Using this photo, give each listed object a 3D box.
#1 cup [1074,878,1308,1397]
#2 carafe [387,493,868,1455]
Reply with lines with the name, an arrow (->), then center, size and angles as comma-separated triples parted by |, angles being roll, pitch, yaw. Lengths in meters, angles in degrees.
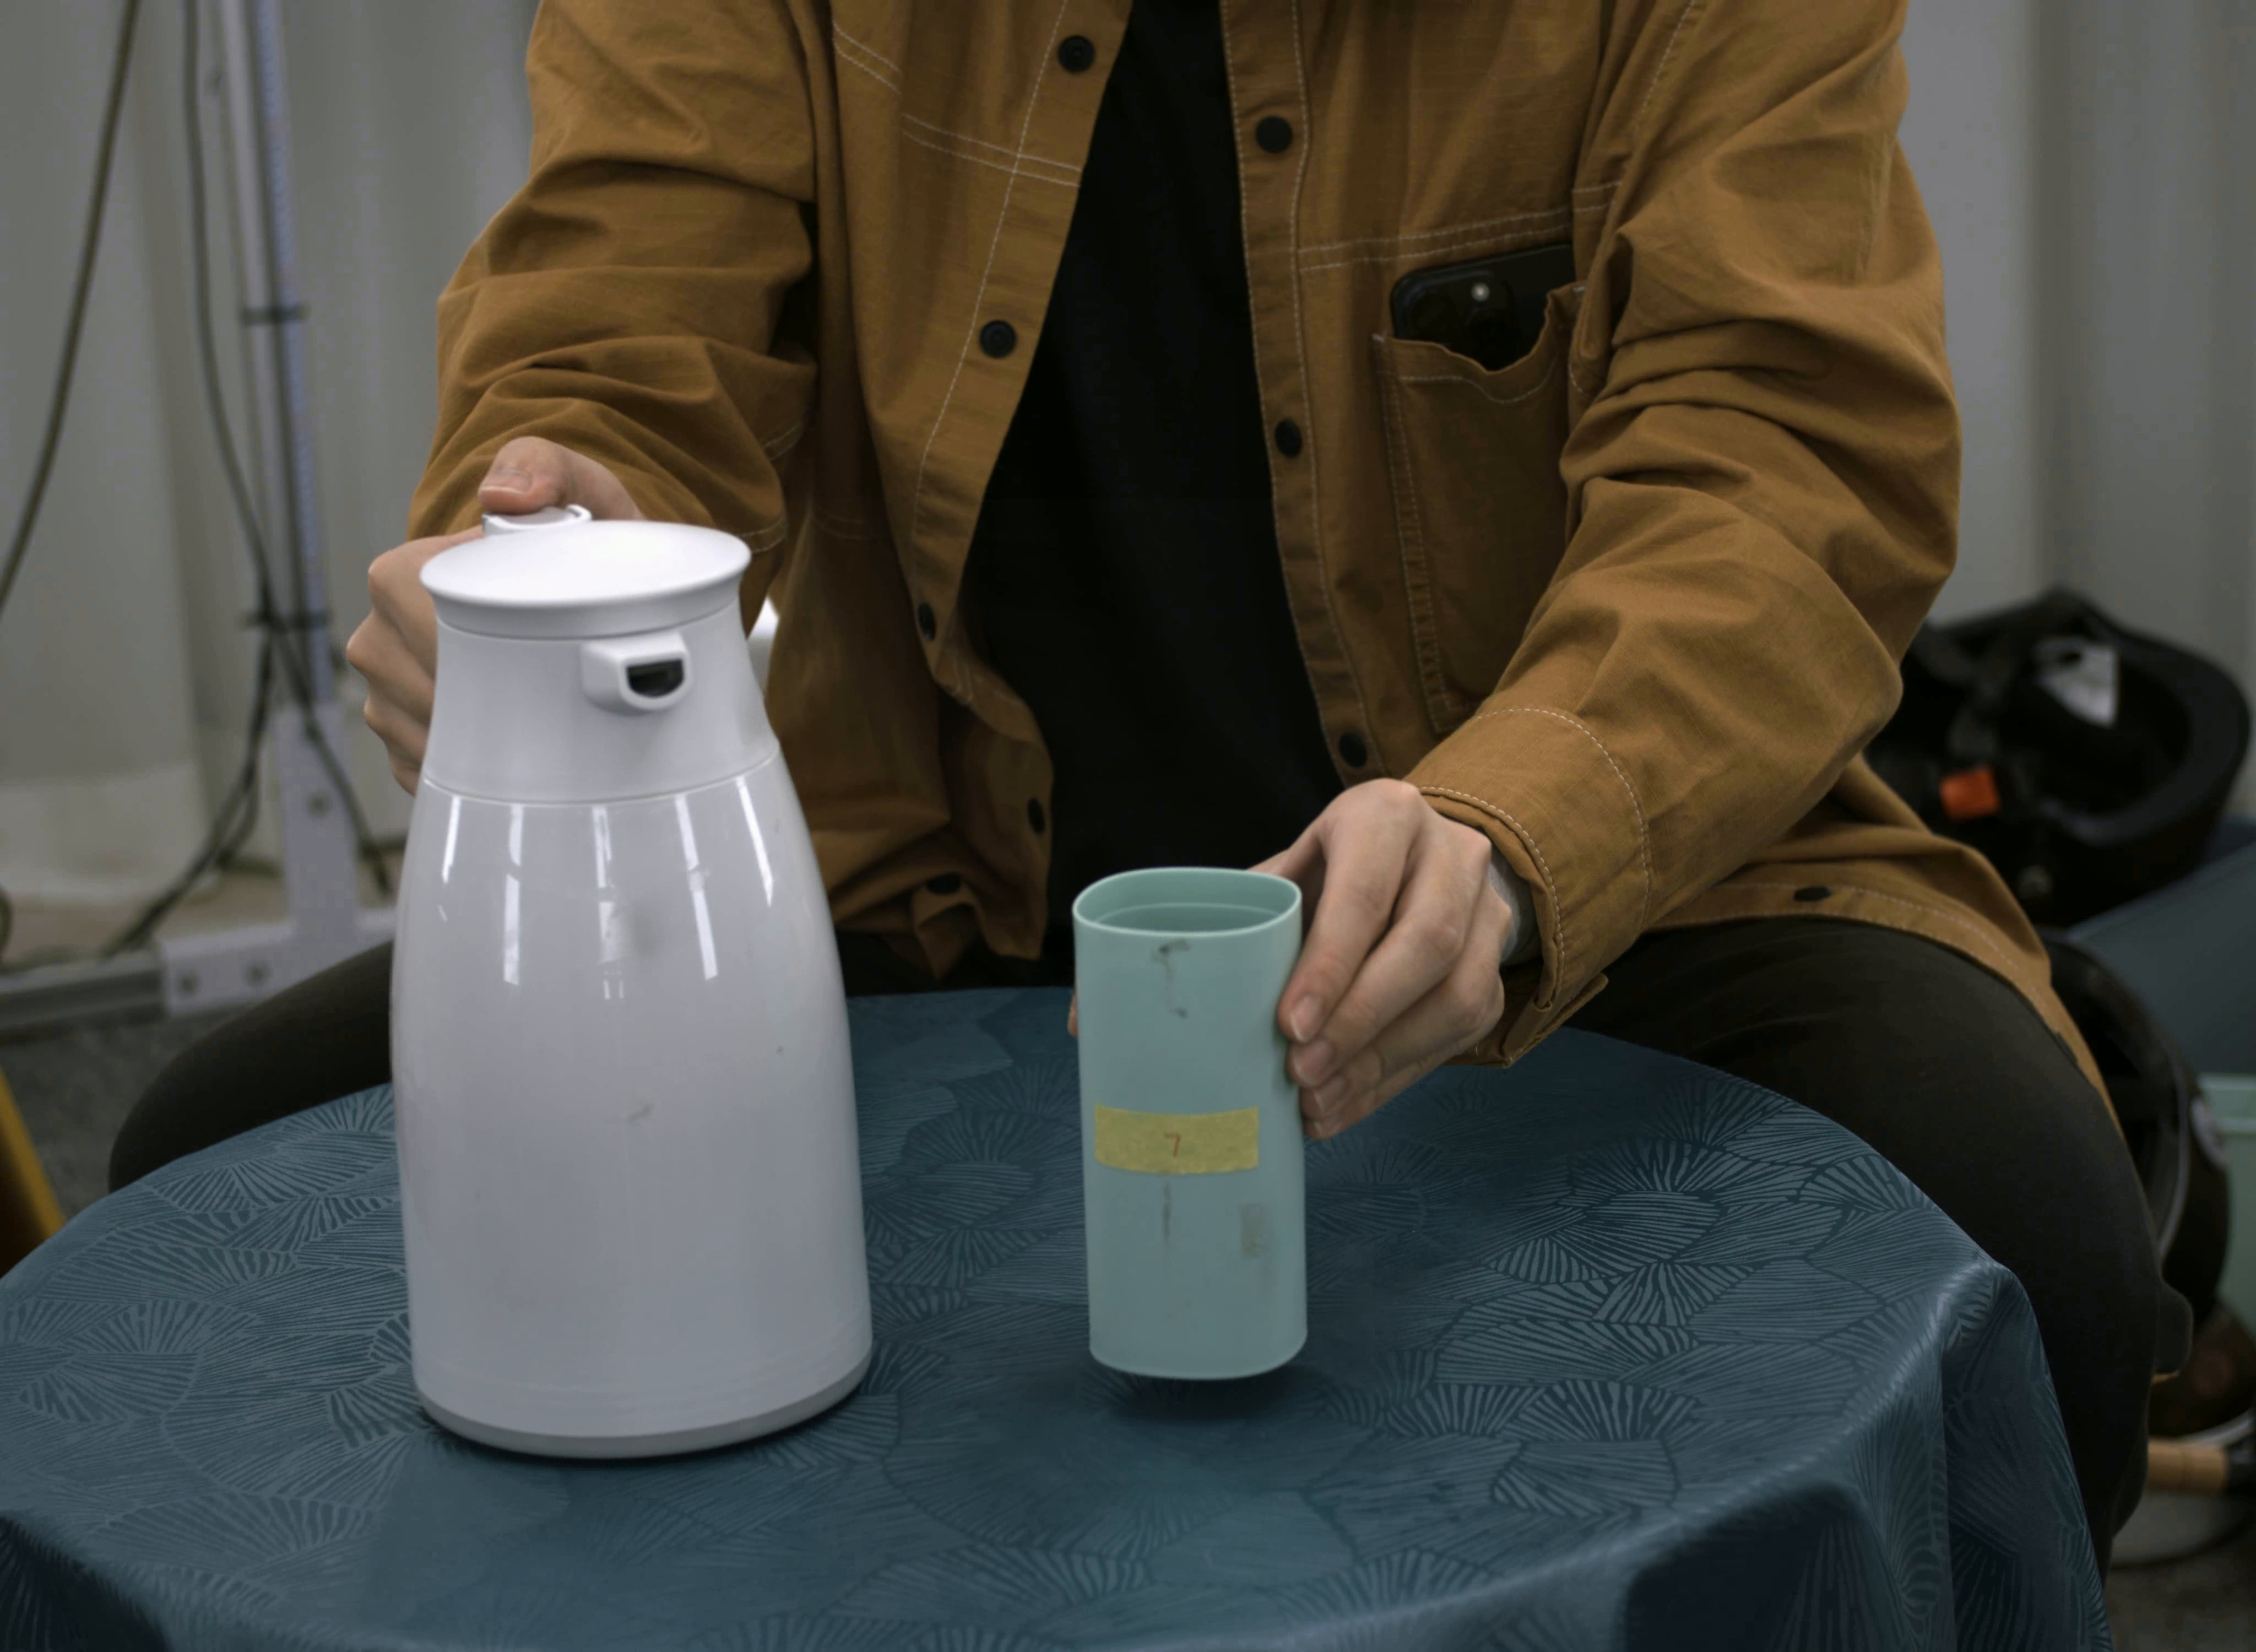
cup -> 0.019, 0.085, 1.523 | 0.066, 0.132, 0.067 | -1, 15, 0
carafe -> -0.153, 0.033, 1.552 | 0.132, 0.247, 0.169 | -9, 15, -22
